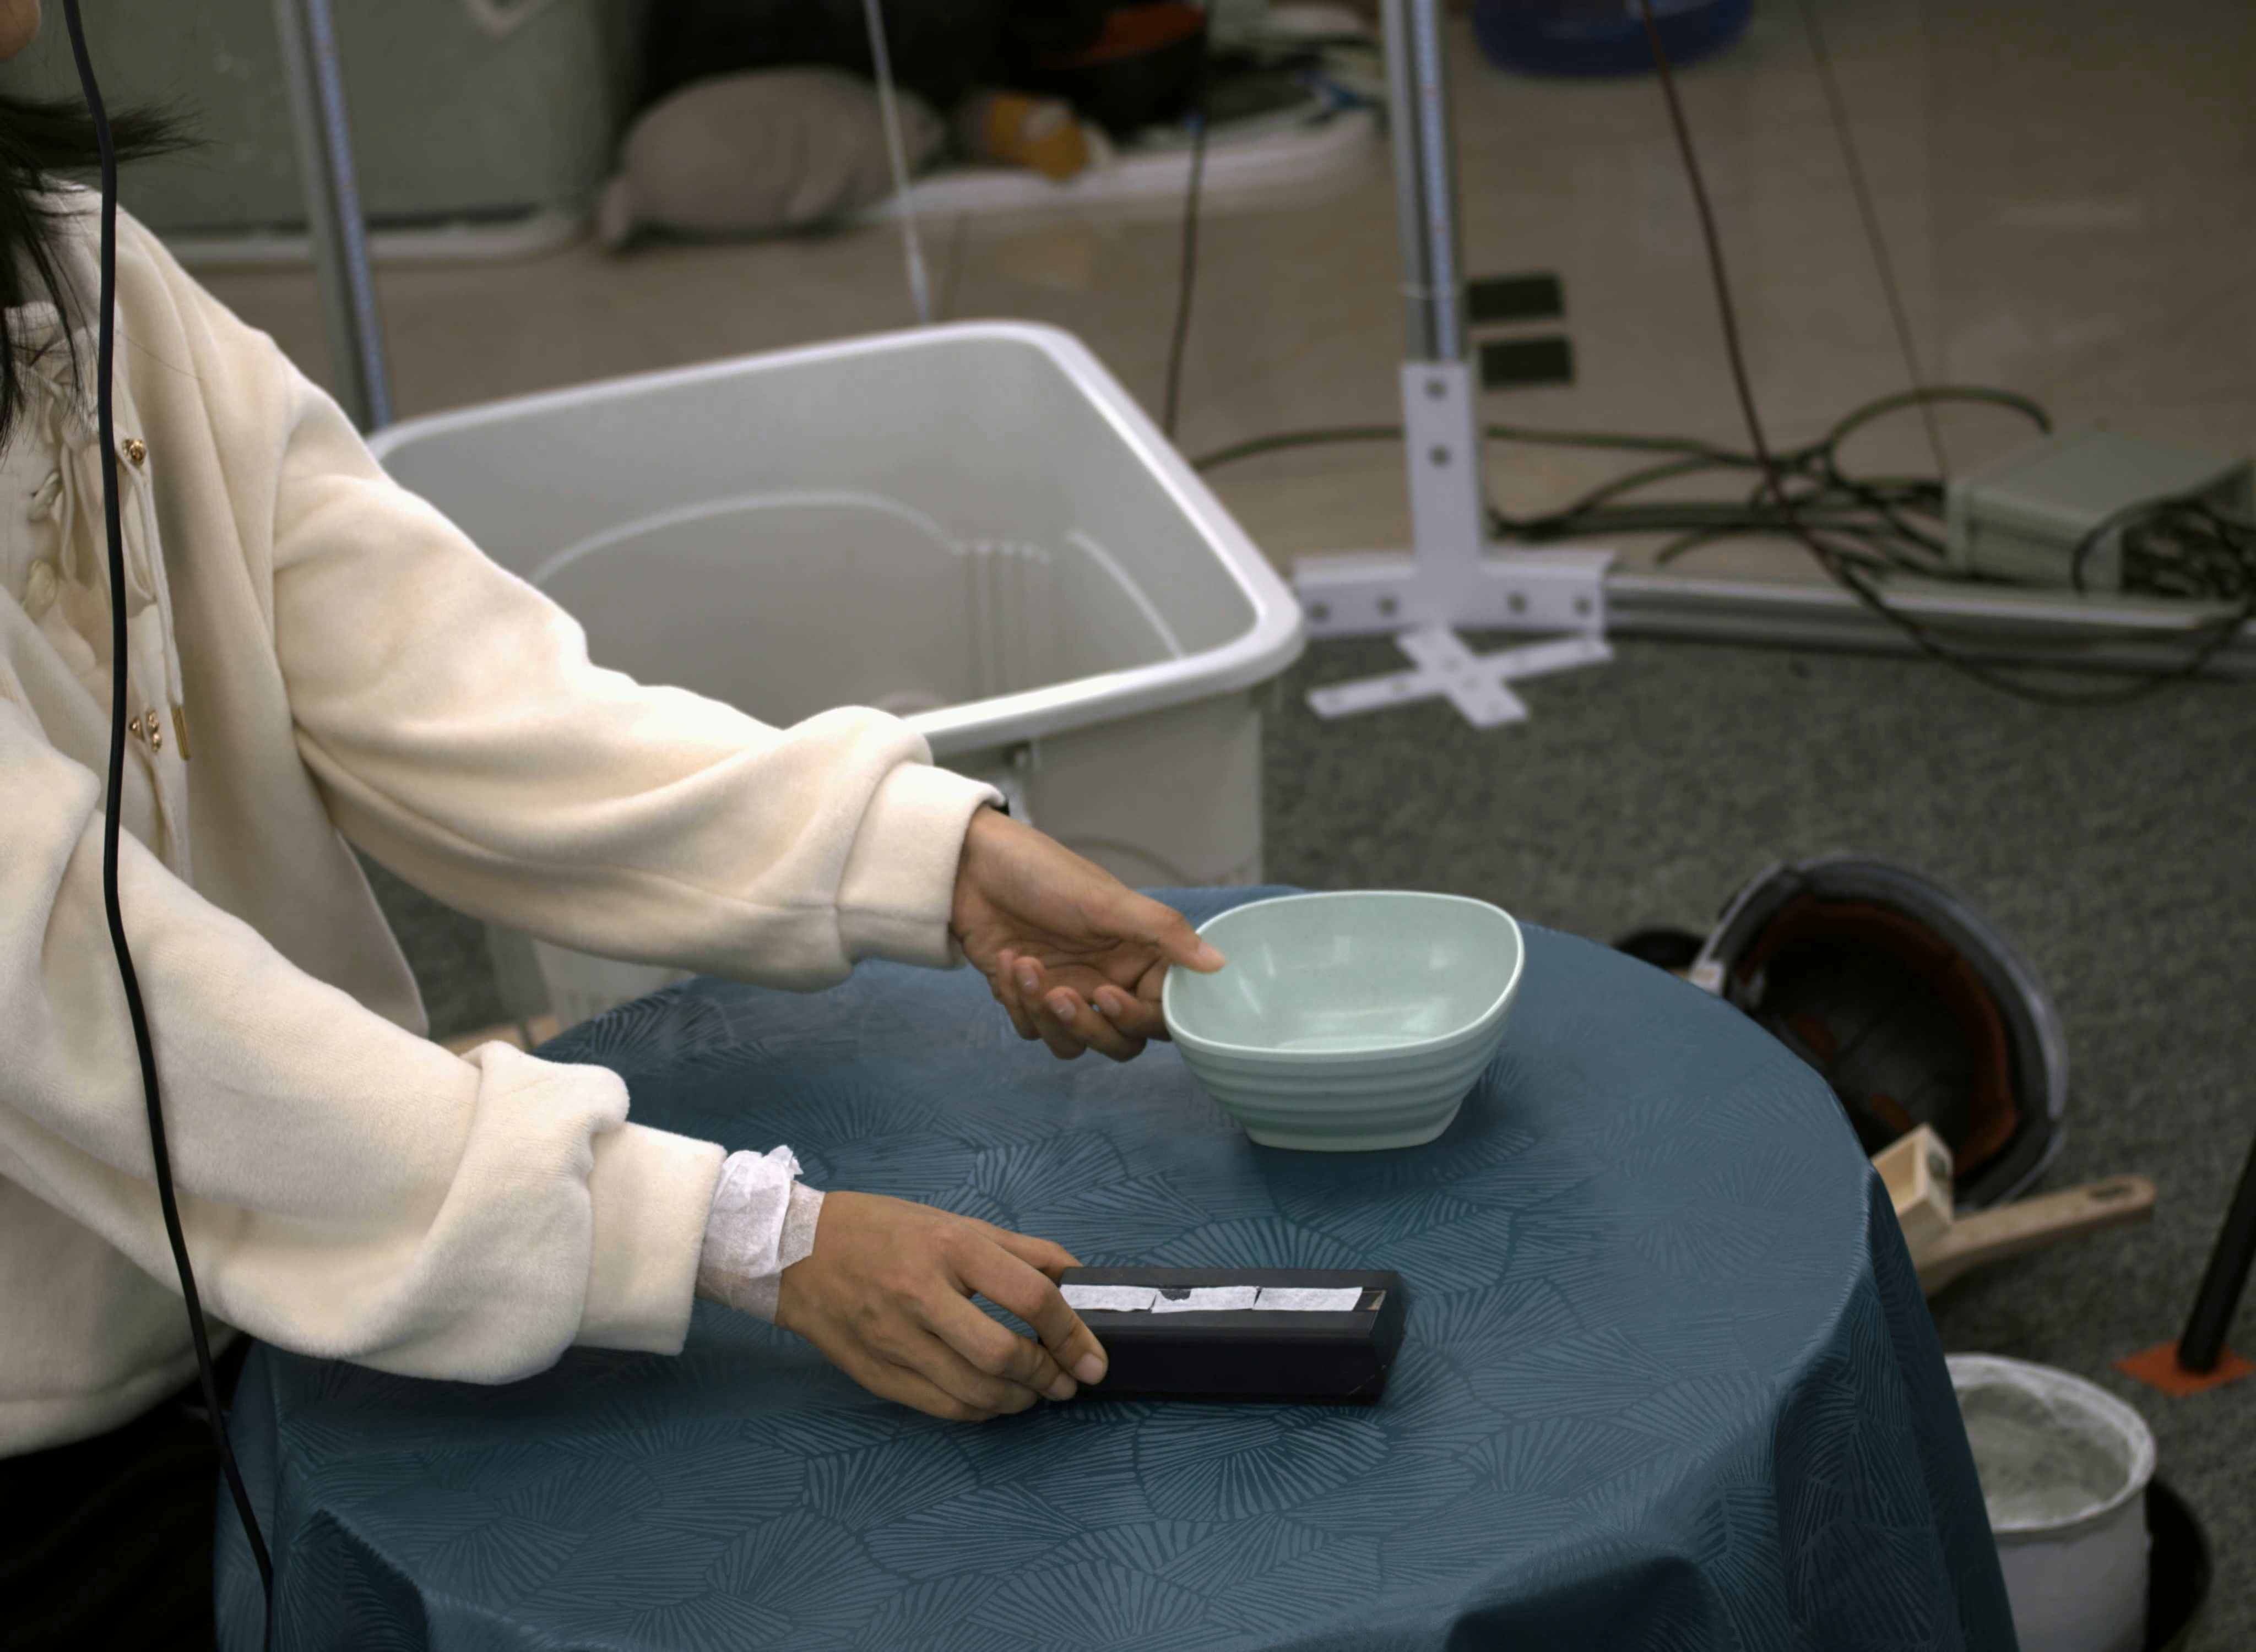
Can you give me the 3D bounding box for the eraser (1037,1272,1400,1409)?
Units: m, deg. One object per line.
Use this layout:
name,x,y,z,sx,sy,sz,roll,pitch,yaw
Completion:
eraser,0.034,0.182,2.015,0.125,0.031,0.053,-3,23,13

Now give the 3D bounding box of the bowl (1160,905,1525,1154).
bowl,0.084,0.083,2.181,0.151,0.059,0.149,-5,22,2
